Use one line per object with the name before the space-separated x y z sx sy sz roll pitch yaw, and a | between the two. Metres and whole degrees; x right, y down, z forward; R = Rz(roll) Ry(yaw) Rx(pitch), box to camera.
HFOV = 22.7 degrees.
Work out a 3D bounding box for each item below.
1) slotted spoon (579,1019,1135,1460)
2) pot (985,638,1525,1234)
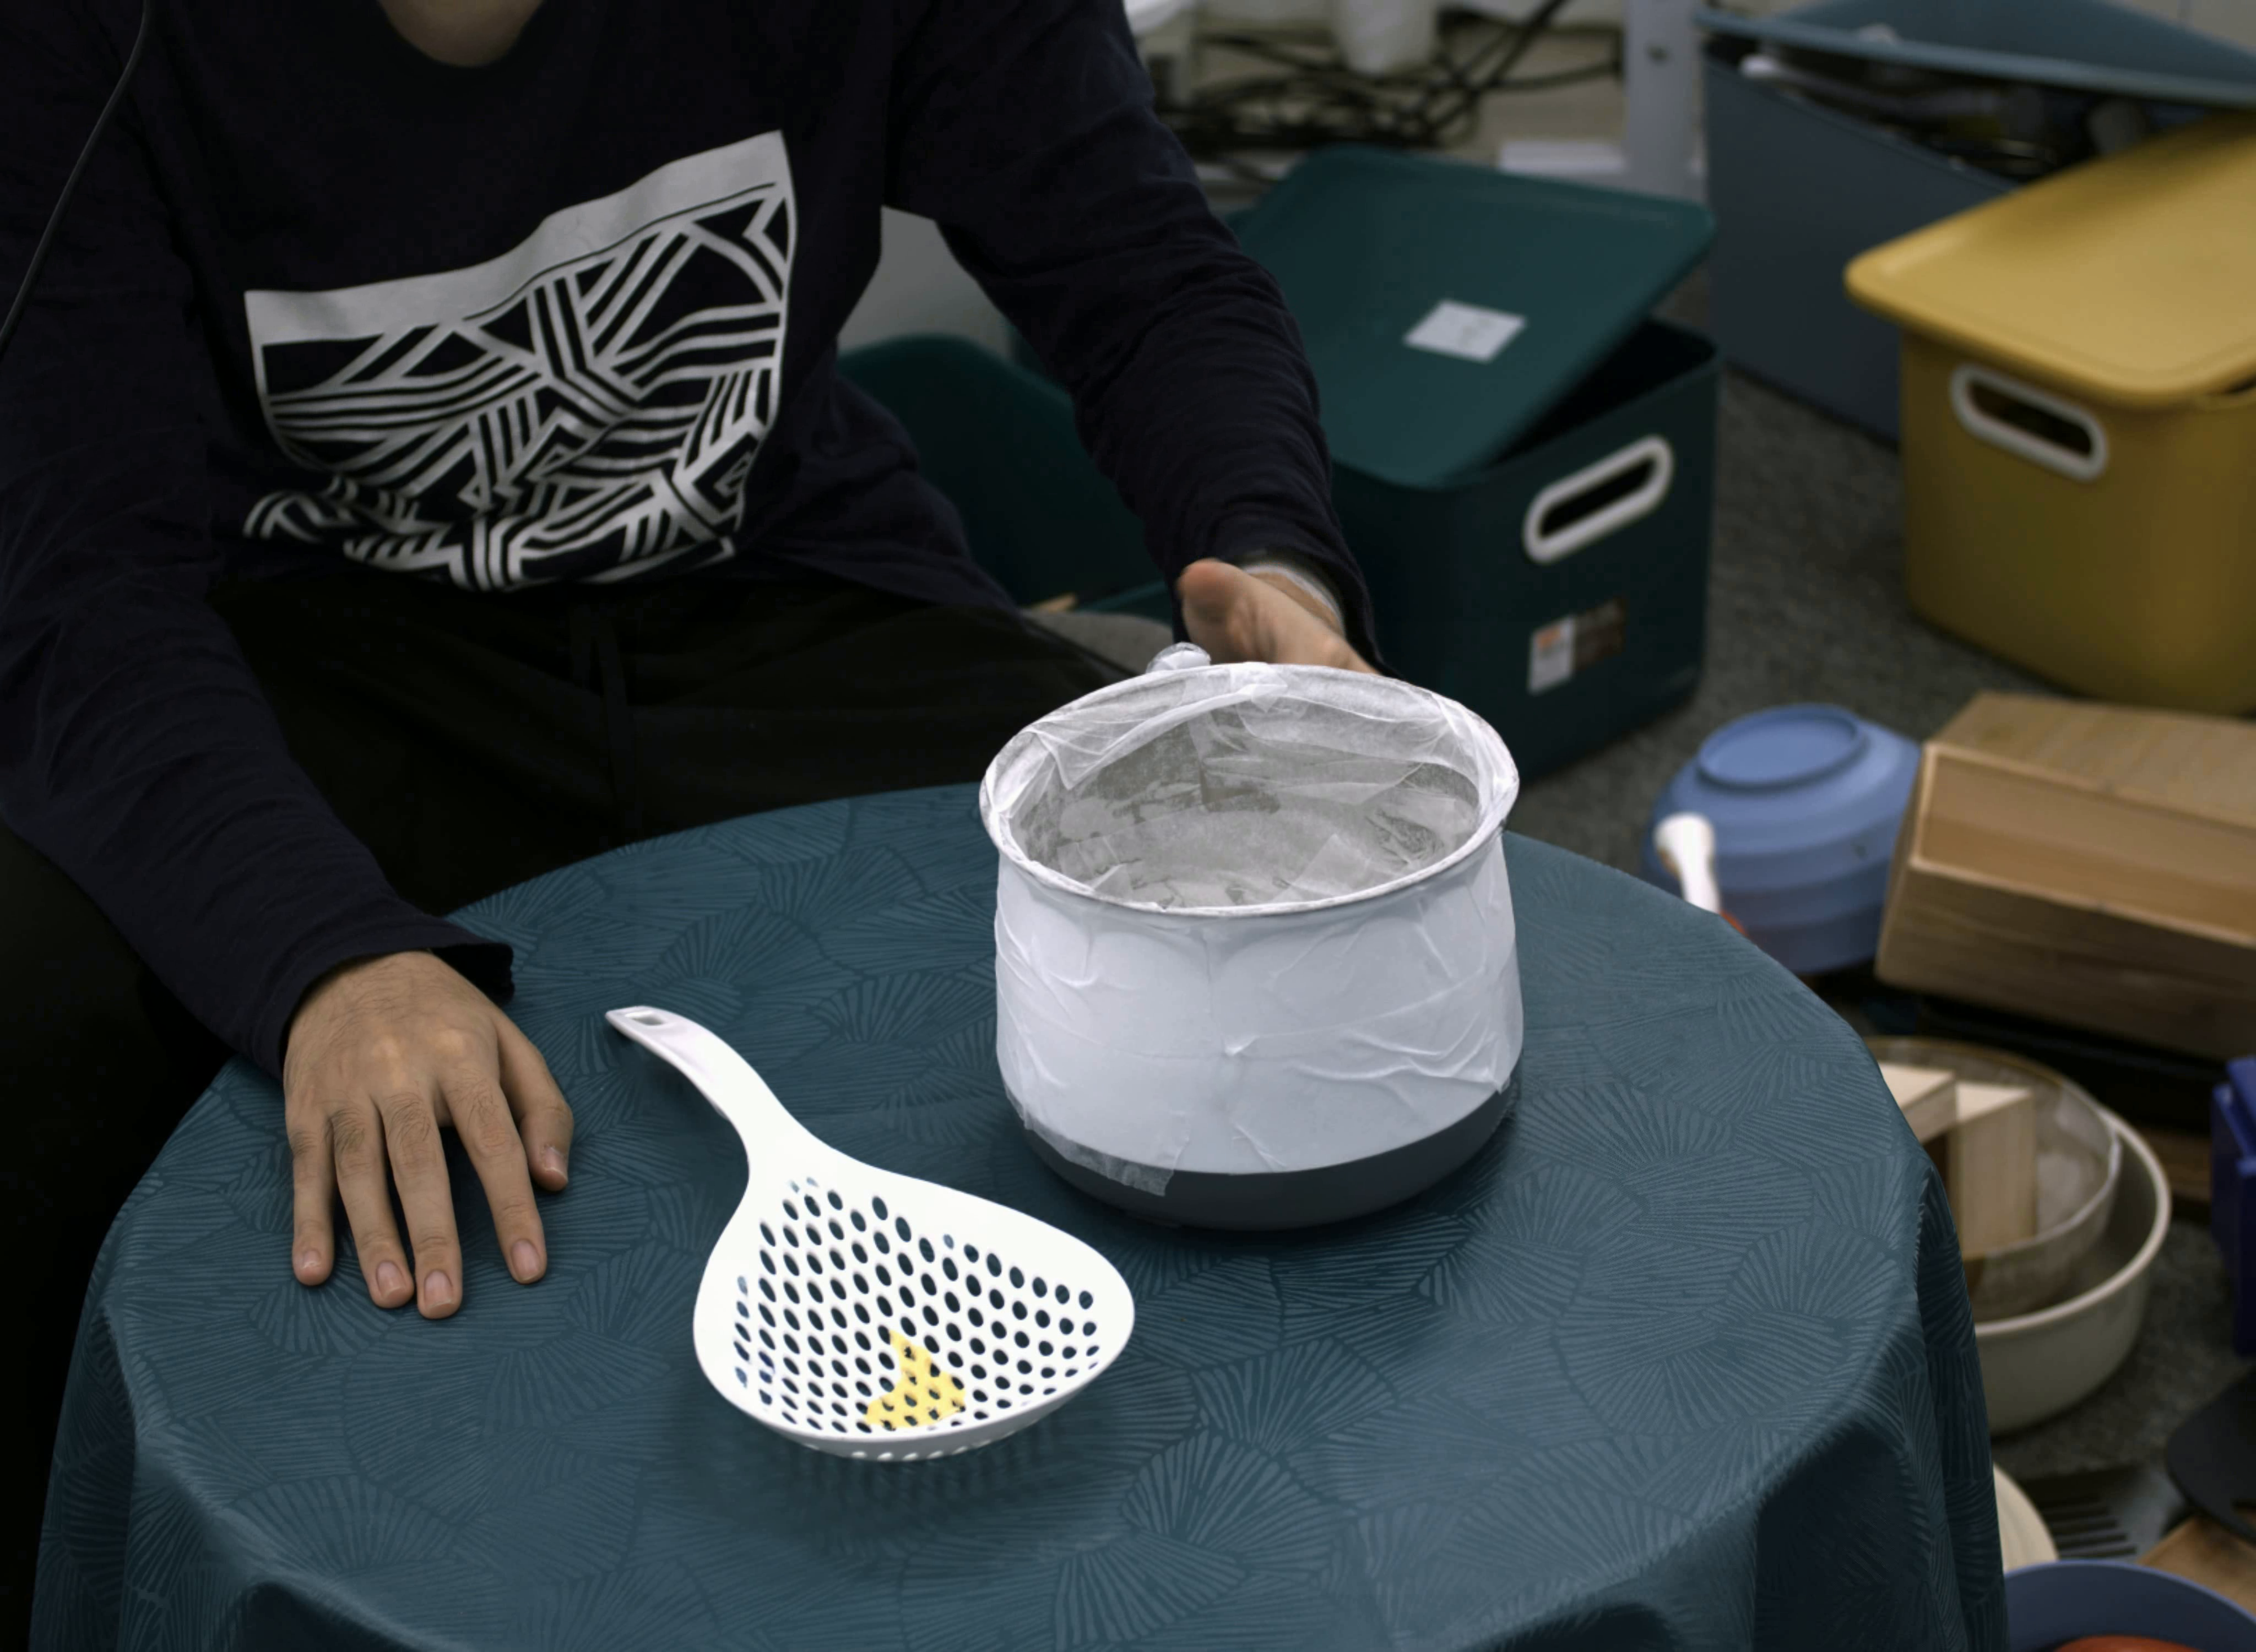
slotted spoon | -0.110 0.121 1.825 0.137 0.050 0.350 -14 30 -20
pot | 0.036 0.029 1.890 0.178 0.135 0.236 -7 28 -12
